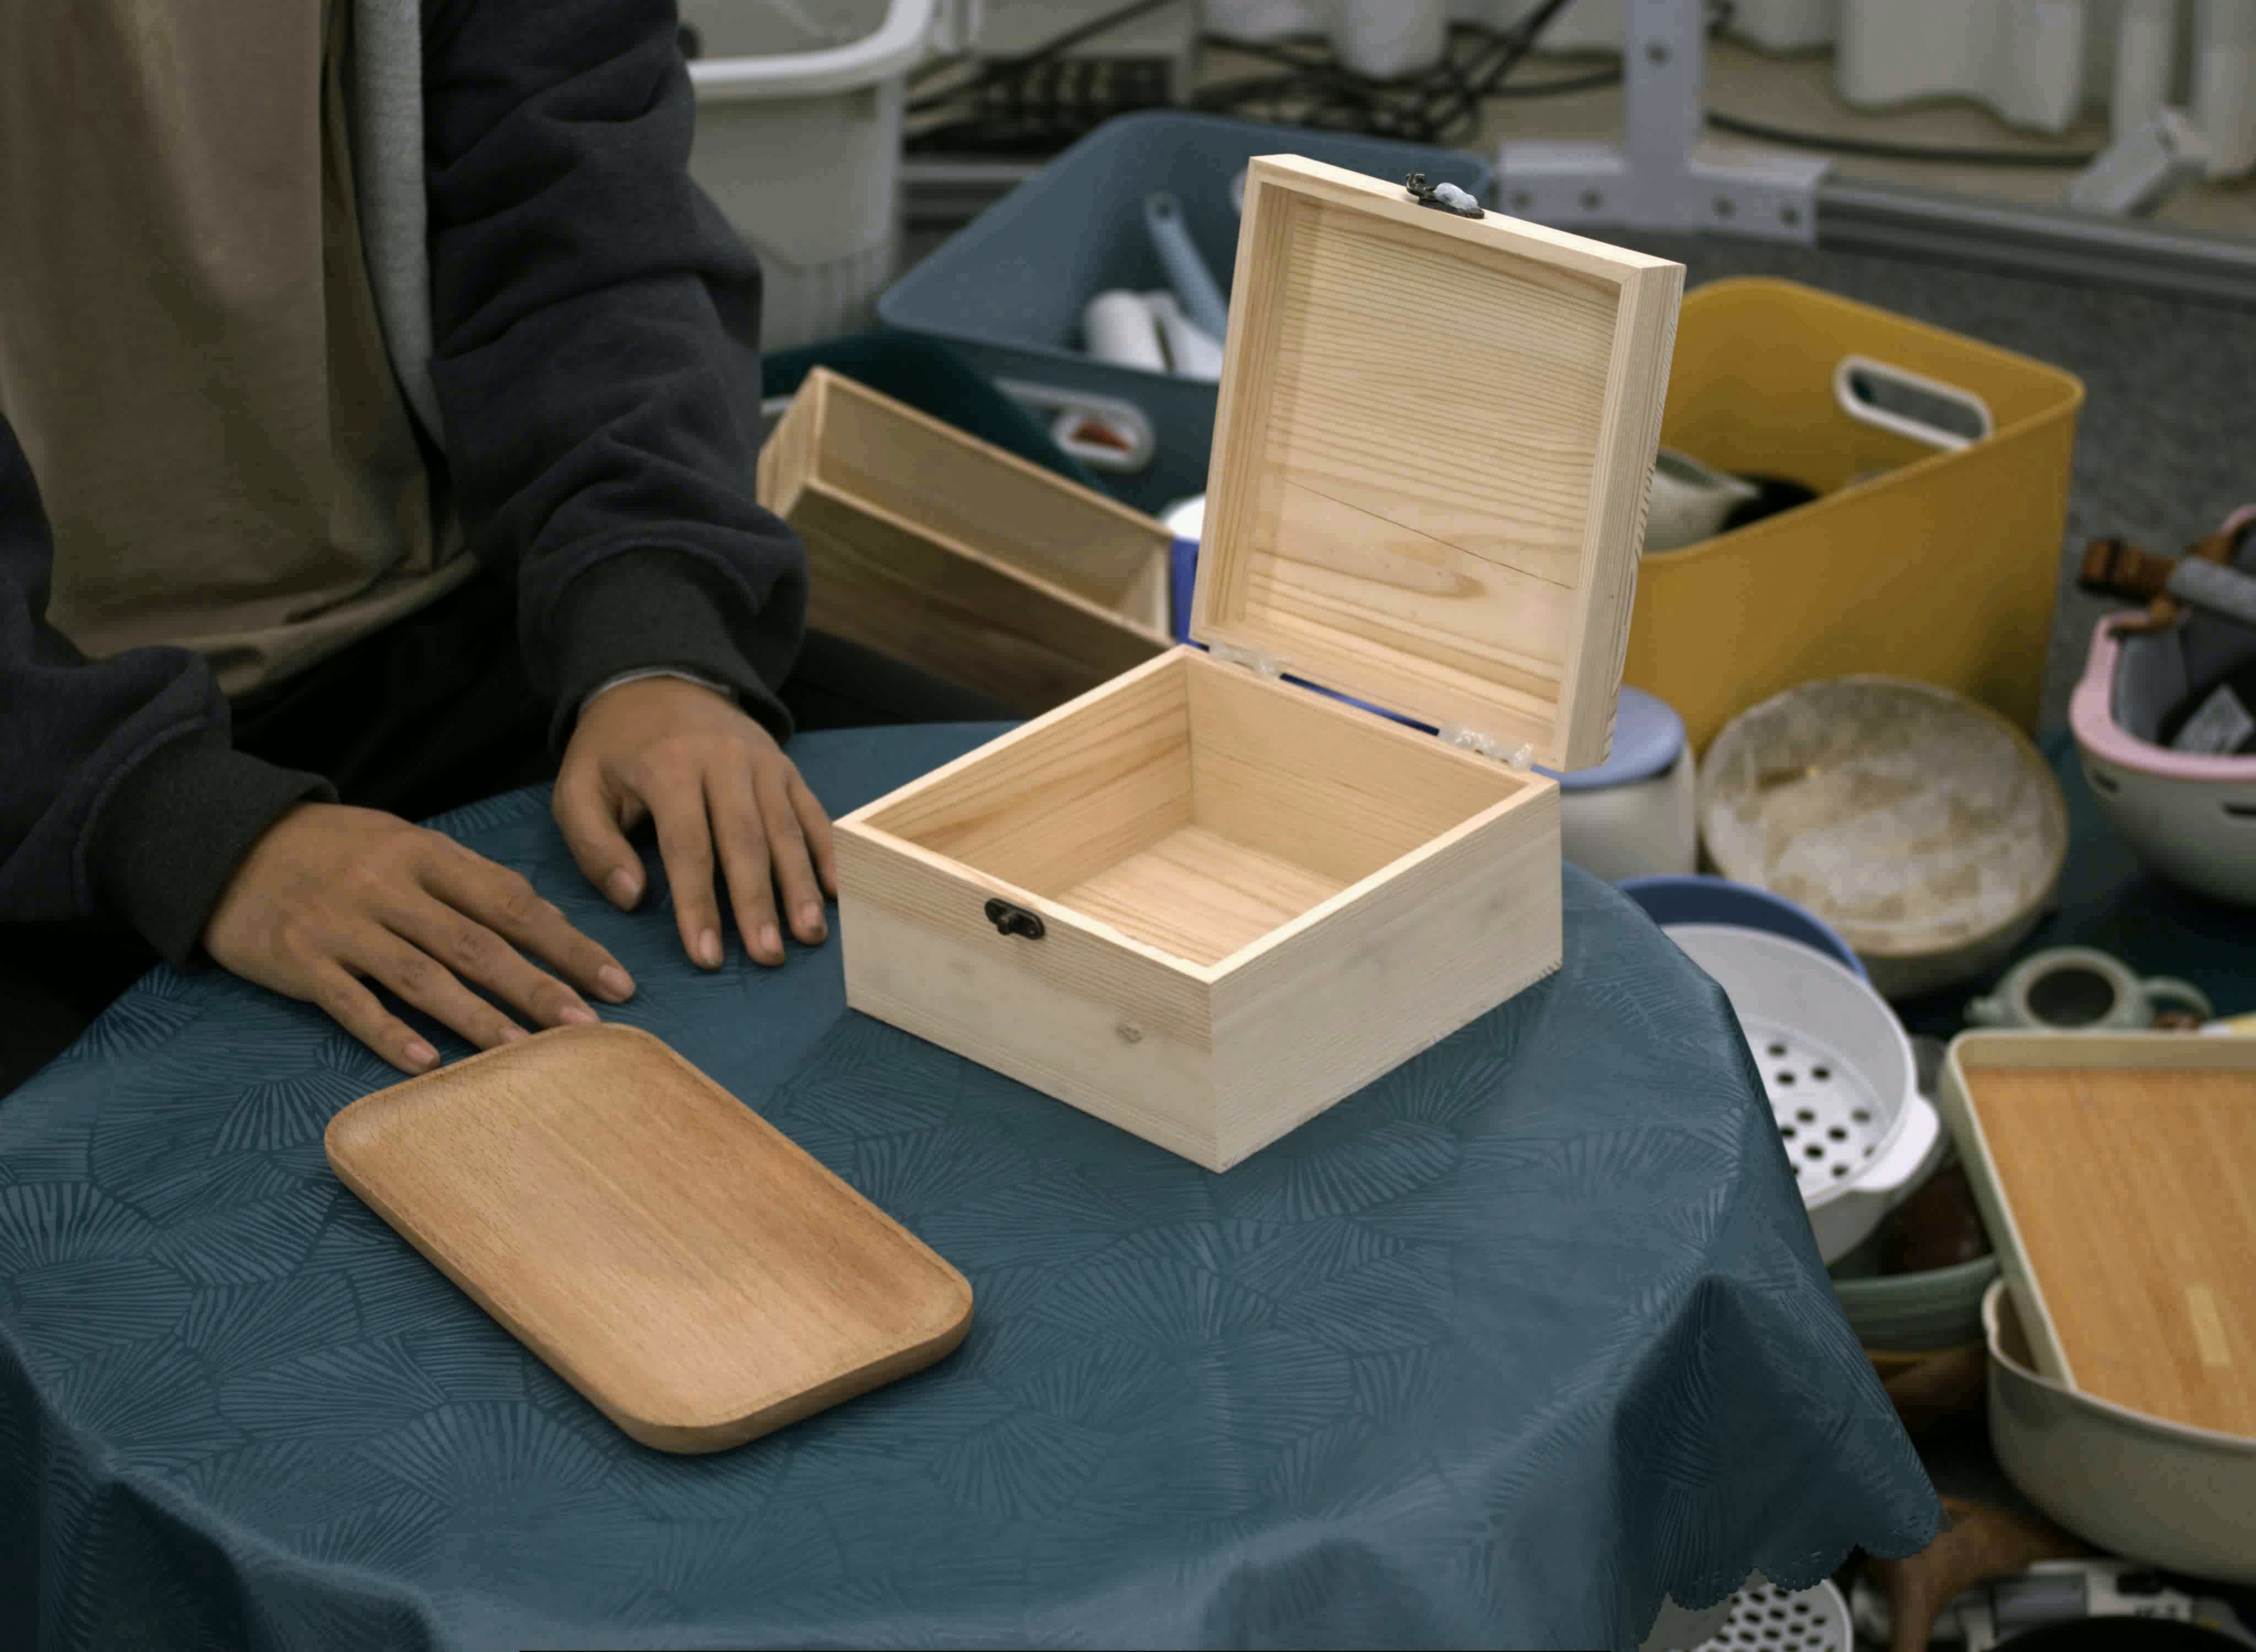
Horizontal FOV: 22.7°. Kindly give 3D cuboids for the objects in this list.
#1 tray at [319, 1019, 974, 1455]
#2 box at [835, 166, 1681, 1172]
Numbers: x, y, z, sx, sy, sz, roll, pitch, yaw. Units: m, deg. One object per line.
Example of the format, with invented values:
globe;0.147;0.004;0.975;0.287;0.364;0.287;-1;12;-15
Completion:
tray;-0.161;0.132;1.839;0.131;0.022;0.251;-17;30;-30
box;0.044;-0.064;1.954;0.181;0.251;0.268;17;32;40
